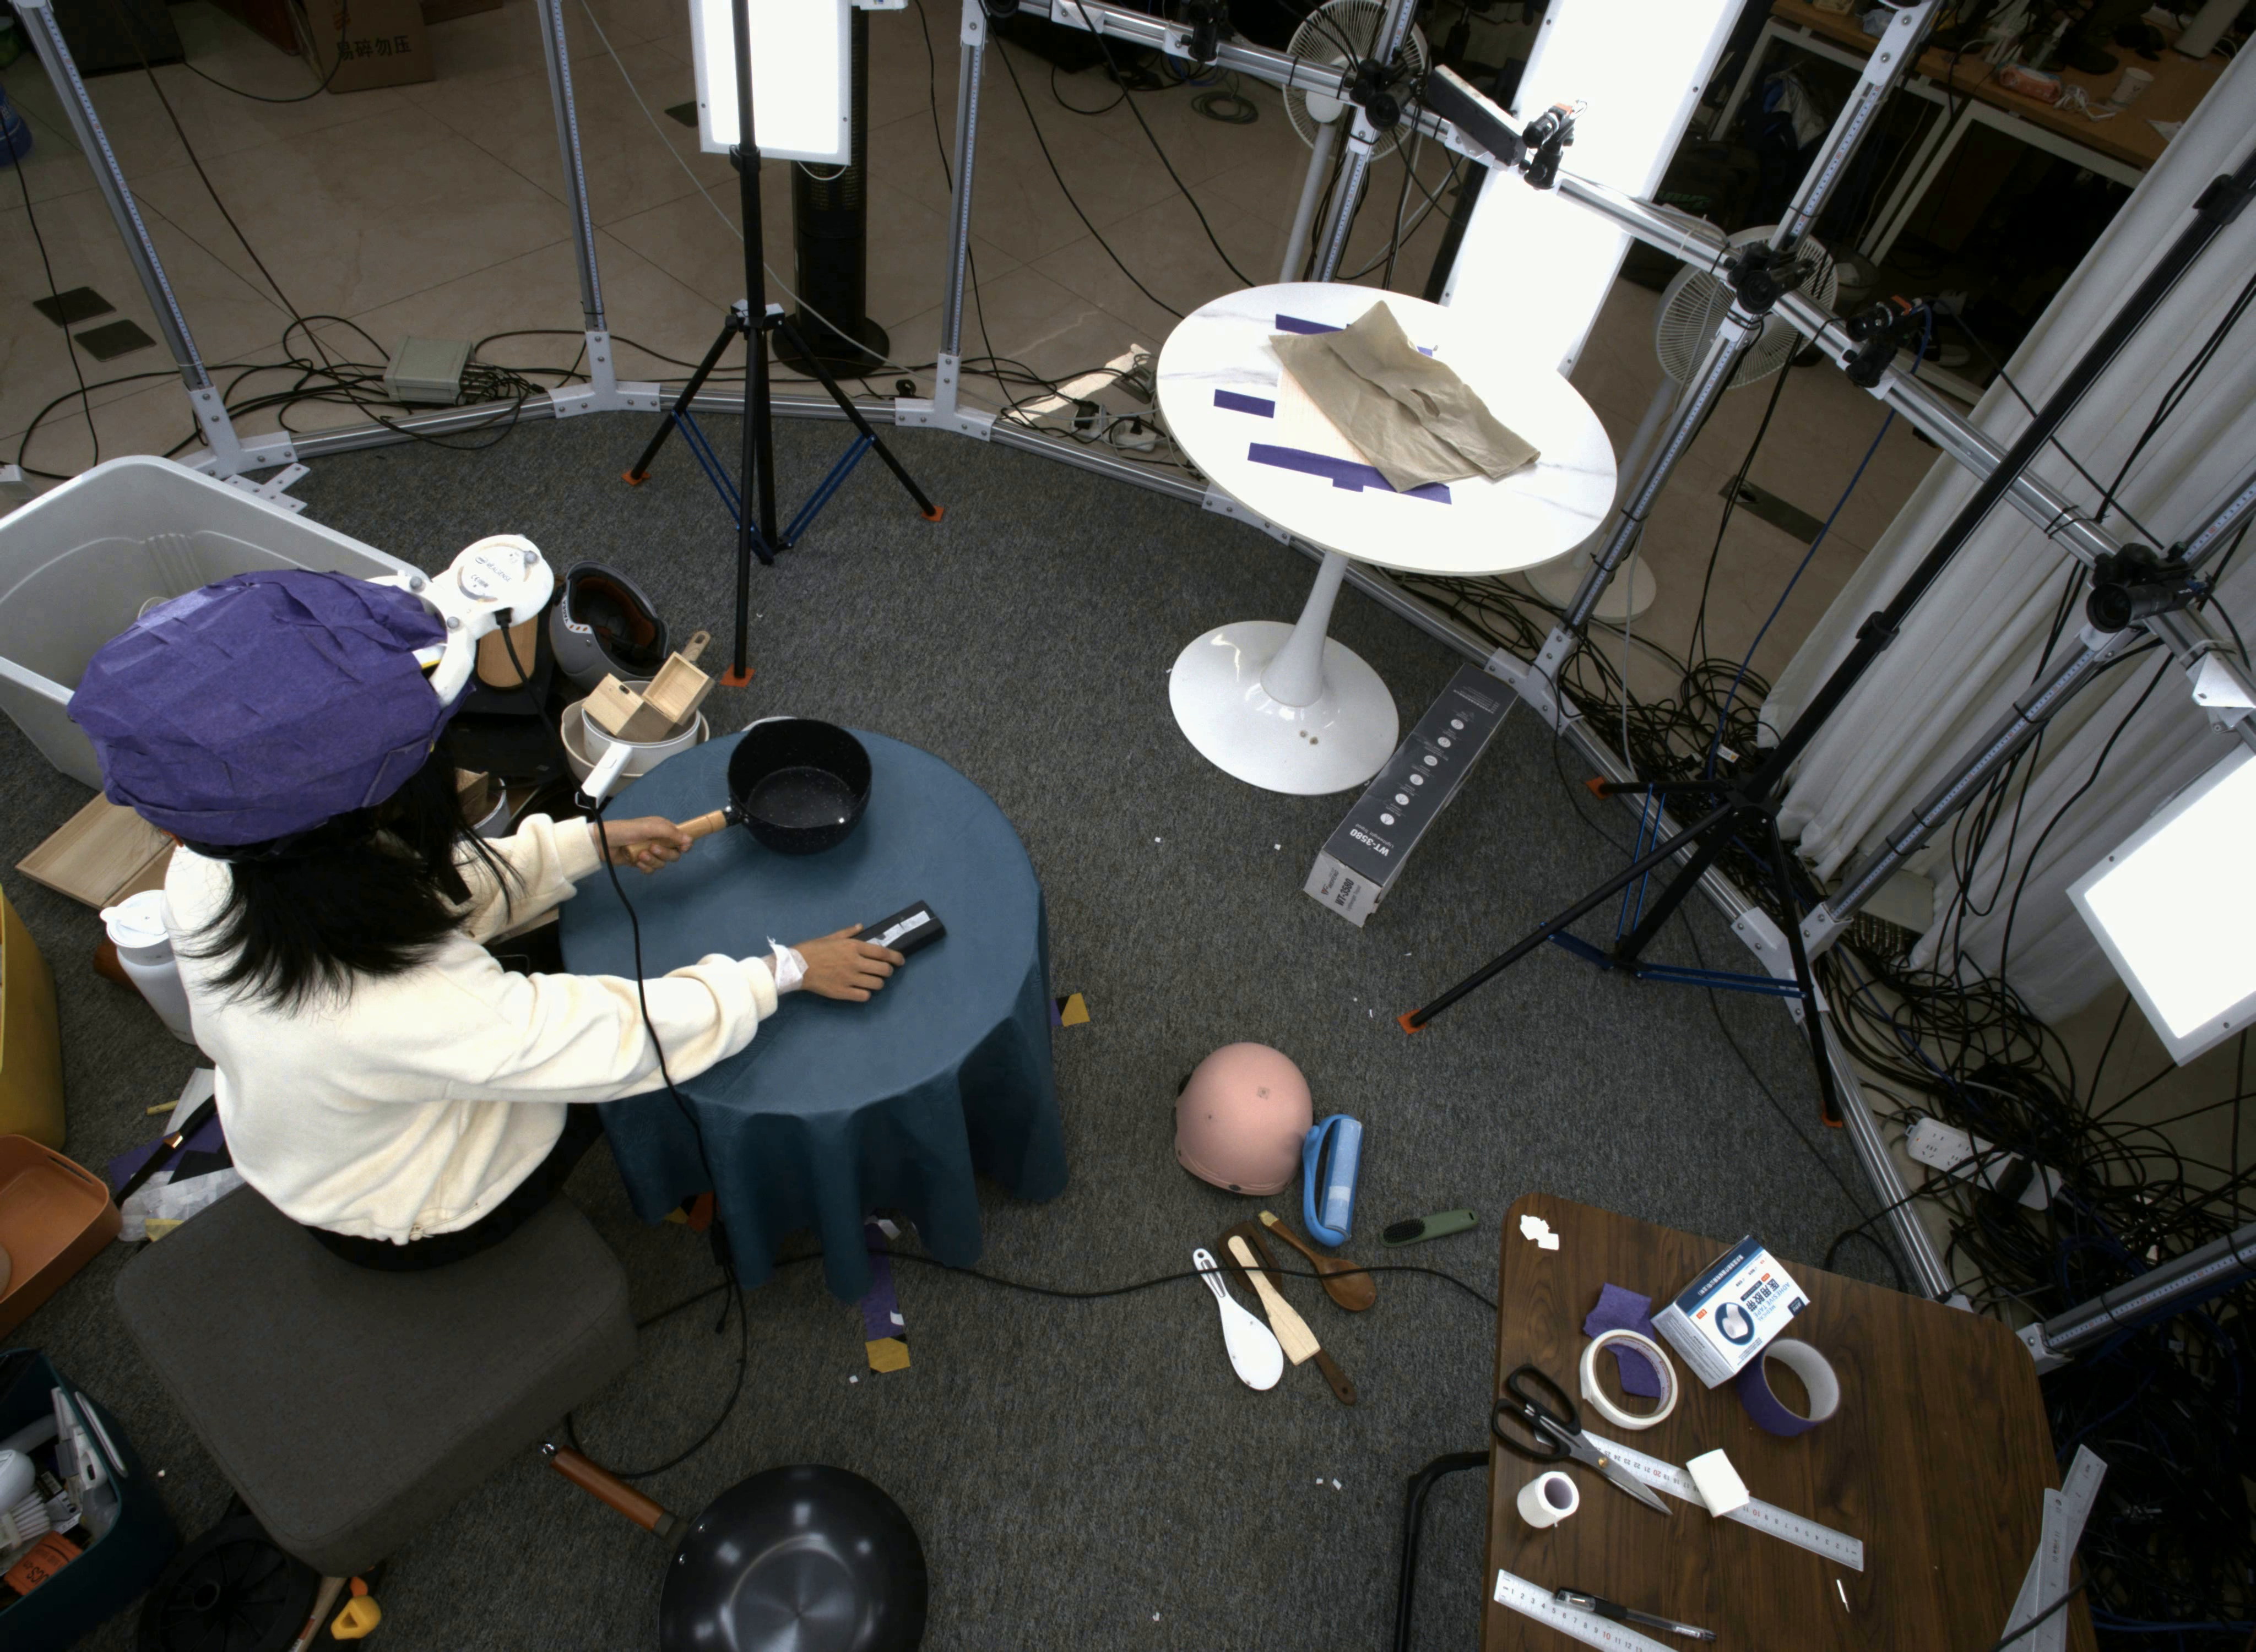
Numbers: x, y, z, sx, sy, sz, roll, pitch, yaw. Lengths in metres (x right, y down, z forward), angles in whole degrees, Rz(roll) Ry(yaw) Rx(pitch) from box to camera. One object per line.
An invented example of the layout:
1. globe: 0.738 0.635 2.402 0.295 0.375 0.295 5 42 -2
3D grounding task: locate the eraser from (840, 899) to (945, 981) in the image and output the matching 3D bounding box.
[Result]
1. eraser: -0.295 0.140 1.631 0.126 0.031 0.052 -29 65 -29

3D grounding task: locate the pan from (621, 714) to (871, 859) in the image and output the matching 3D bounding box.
1. pan: -0.485 -0.018 1.646 0.344 0.110 0.203 -33 68 -34
